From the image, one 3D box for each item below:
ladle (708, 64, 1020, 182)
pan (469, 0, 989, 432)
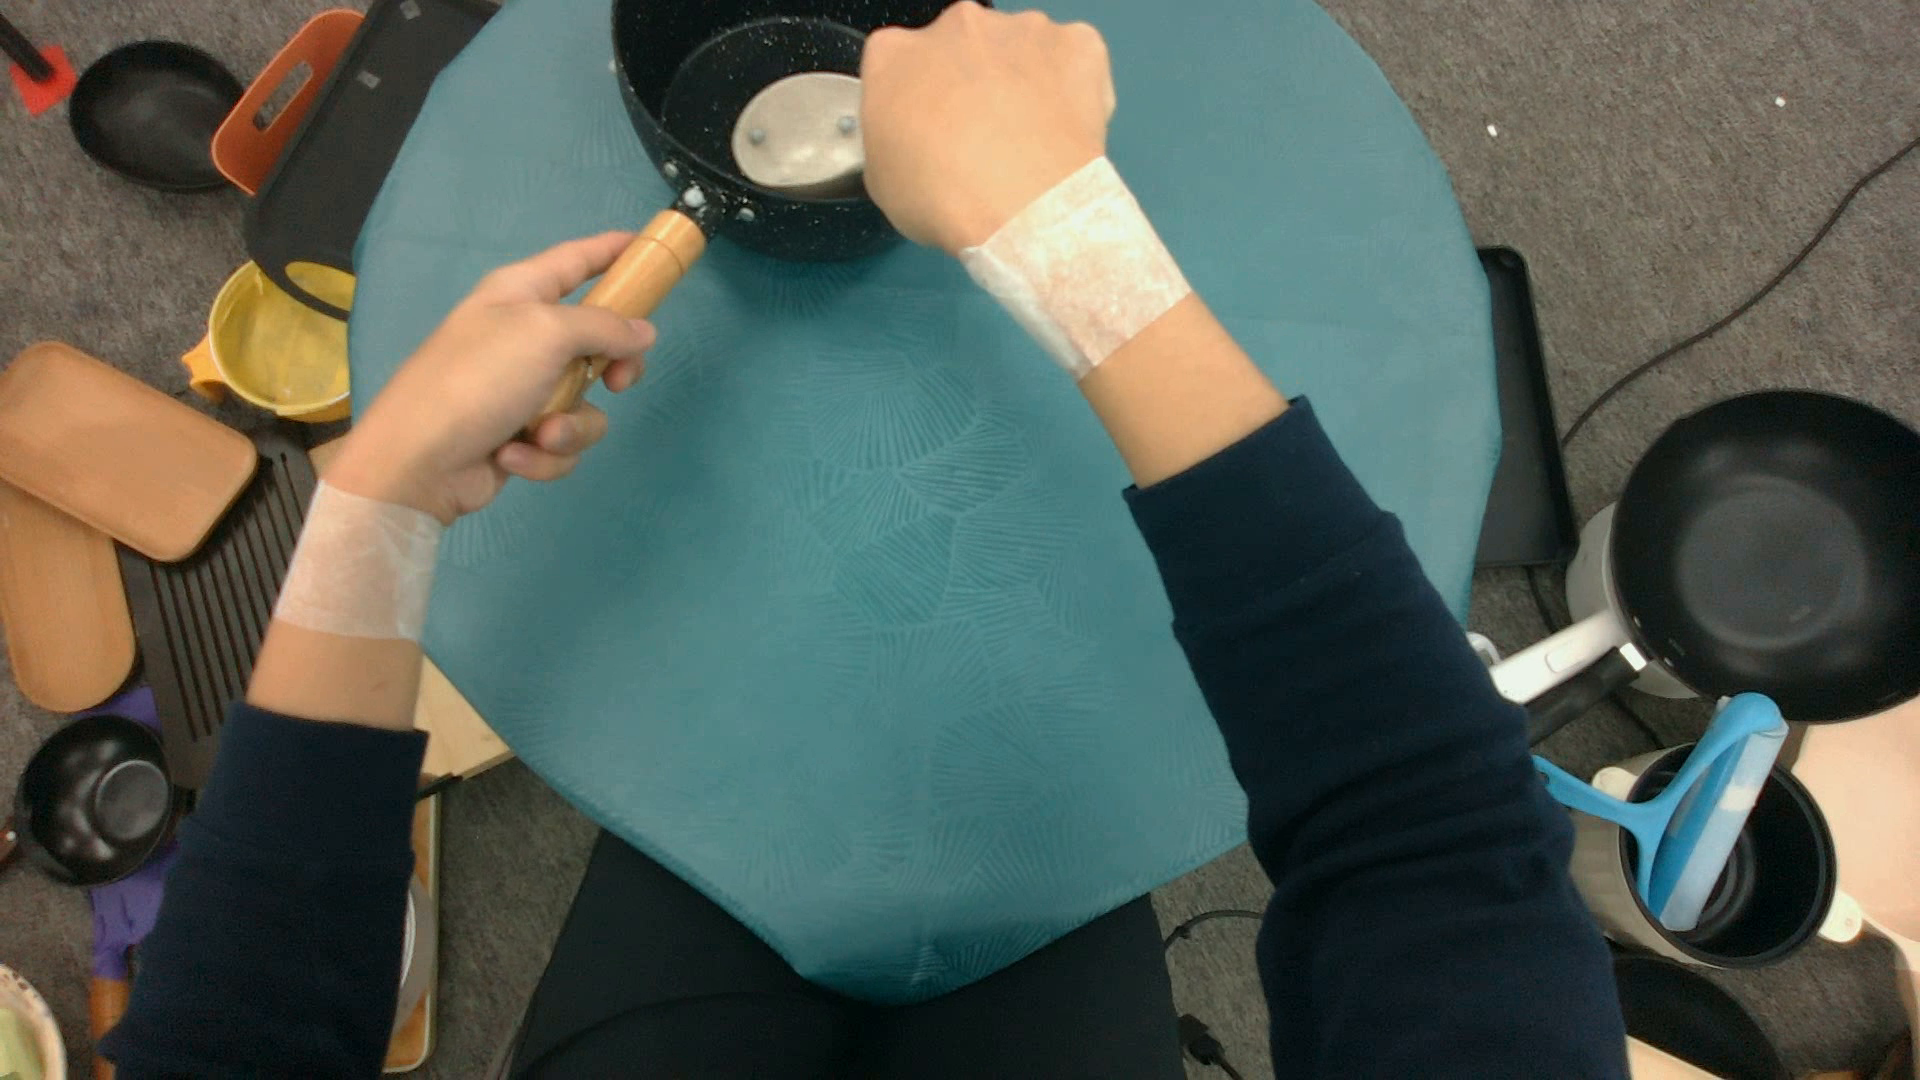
[{"bbox_3d":[-0.043,-0.192,0.593,0.089,0.274,0.069,-20,105,-18],"label":"ladle"},{"bbox_3d":[-0.116,-0.171,0.649,0.207,0.108,0.344,28,67,-1],"label":"pan"}]
